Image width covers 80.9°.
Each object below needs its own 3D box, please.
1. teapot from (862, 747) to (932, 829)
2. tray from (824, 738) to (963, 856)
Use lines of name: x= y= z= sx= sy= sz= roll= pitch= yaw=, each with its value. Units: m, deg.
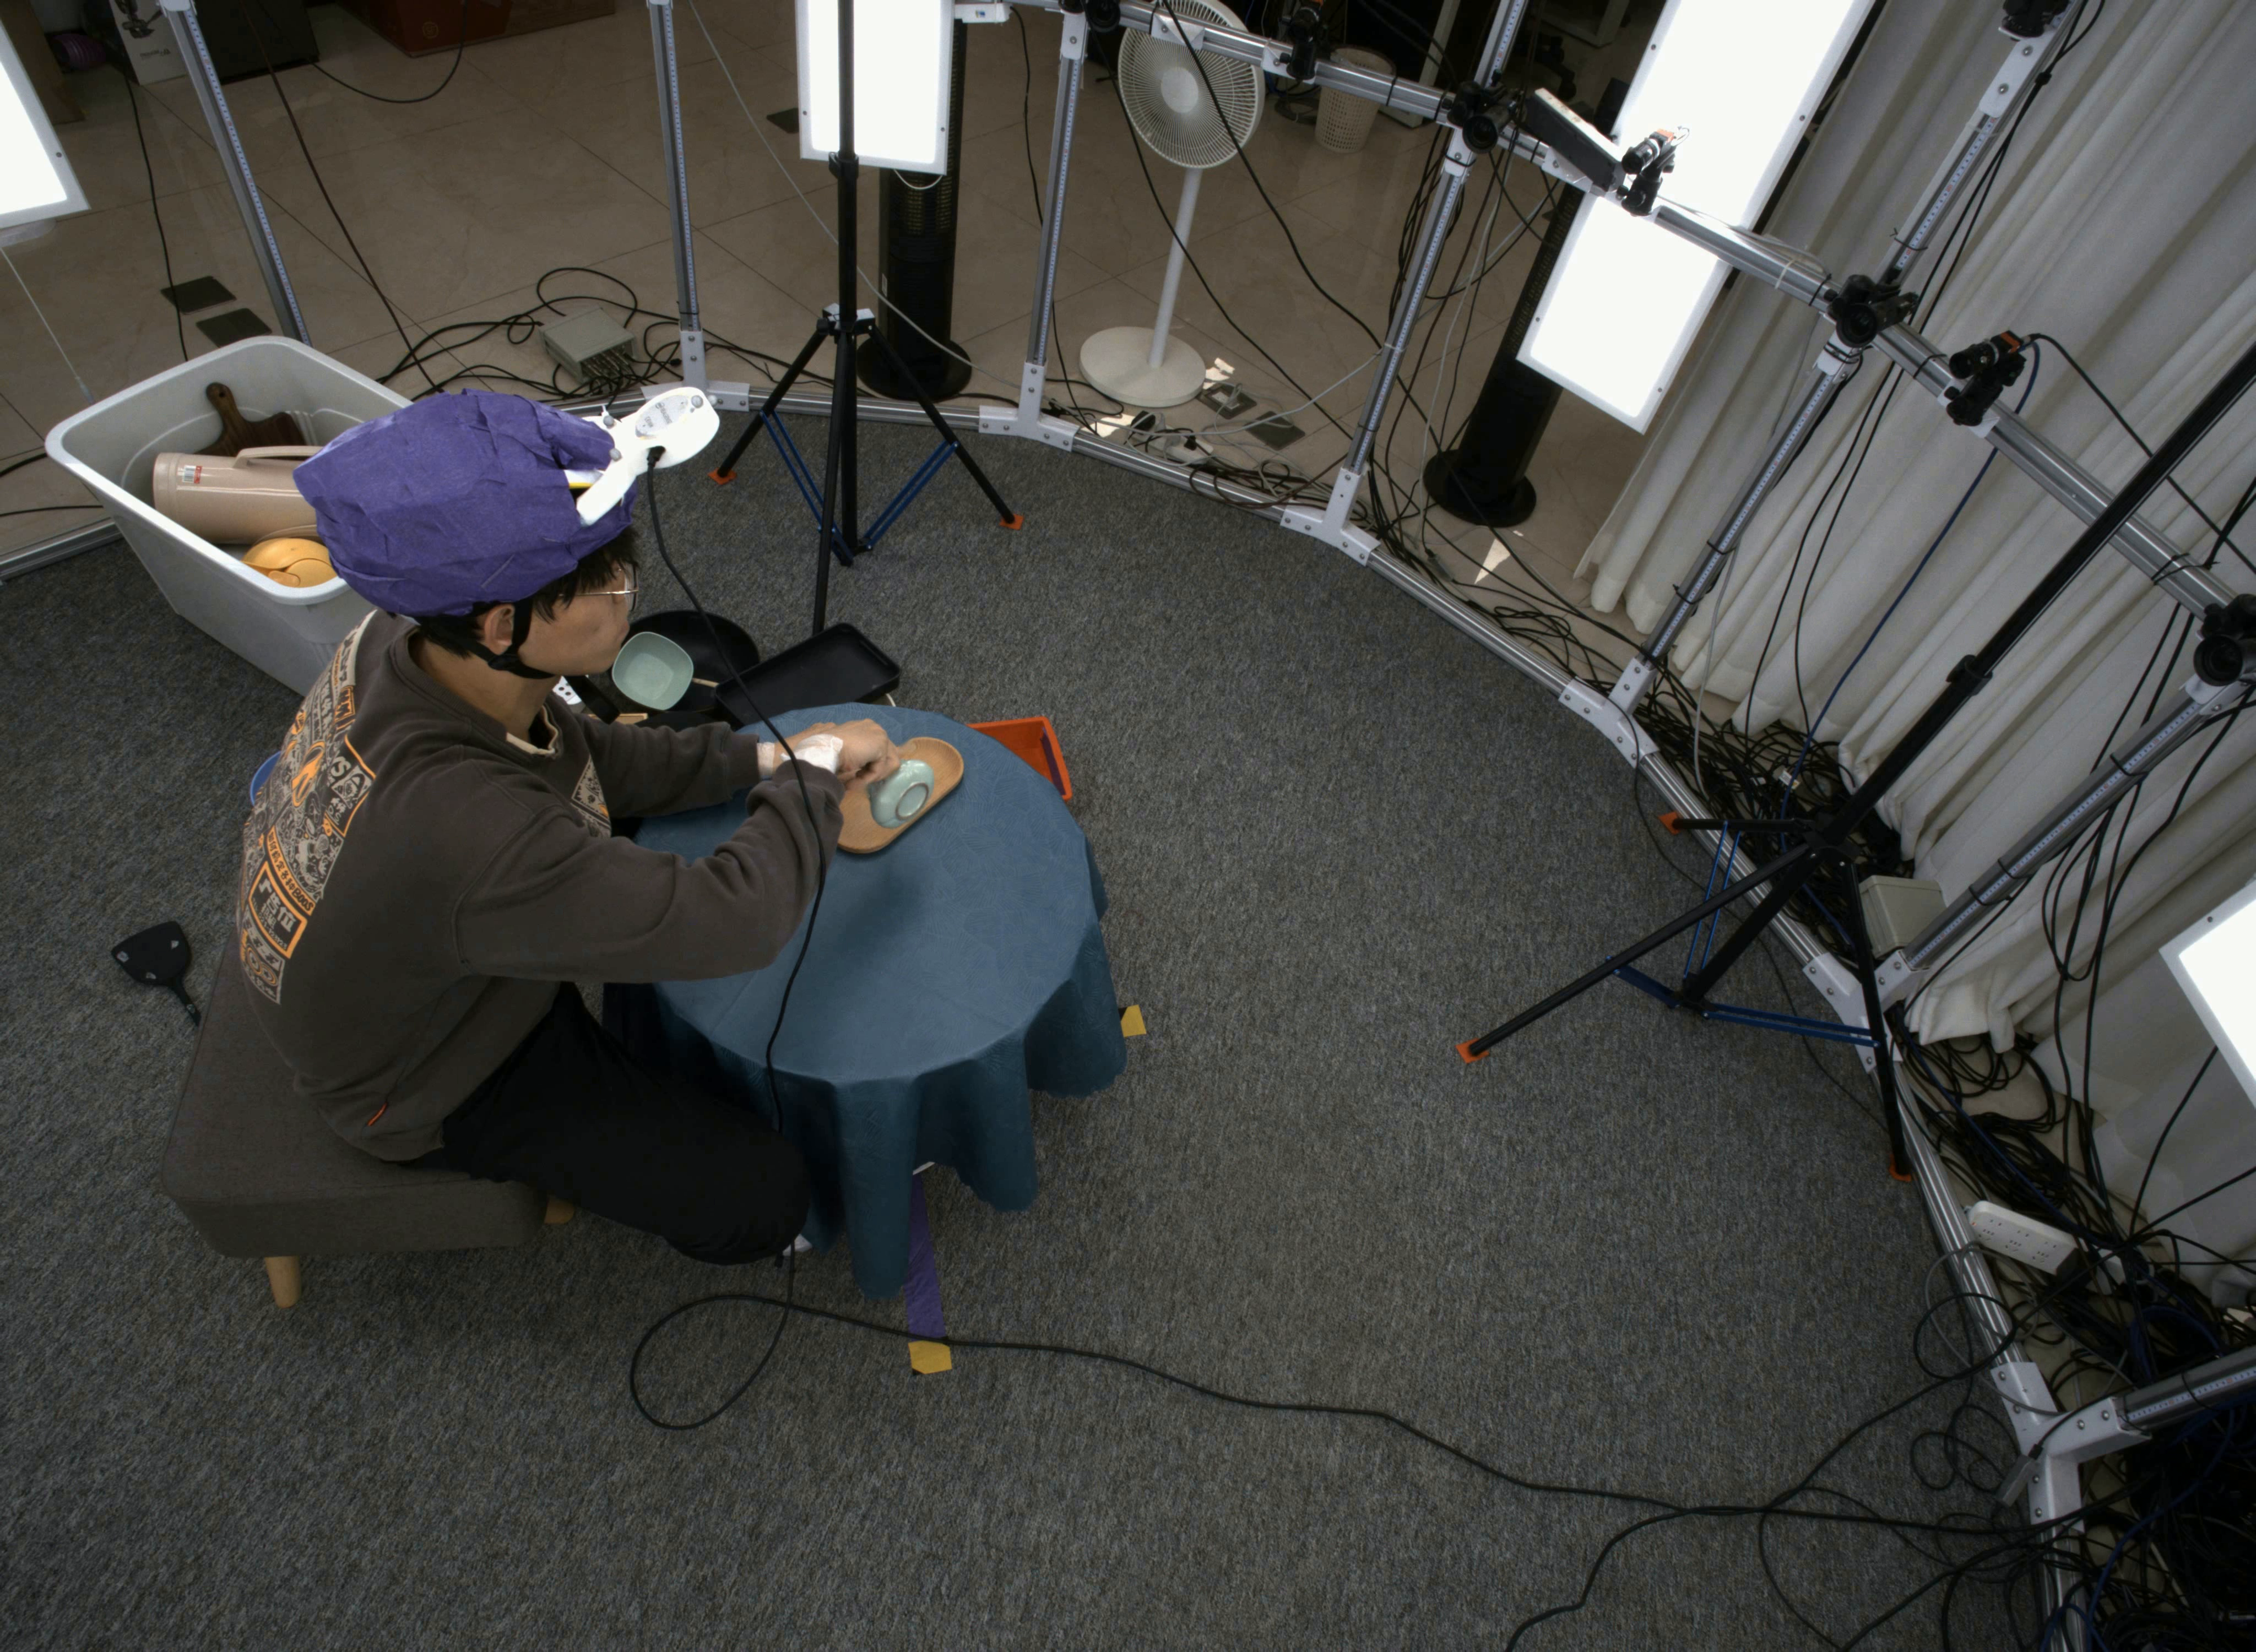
teapot: x=-0.293 y=-0.050 z=1.621 sx=0.059 sy=0.141 sz=0.096 roll=36 pitch=72 yaw=24
tray: x=-0.319 y=-0.041 z=1.783 sx=0.100 sy=0.021 sz=0.231 roll=35 pitch=55 yaw=13
